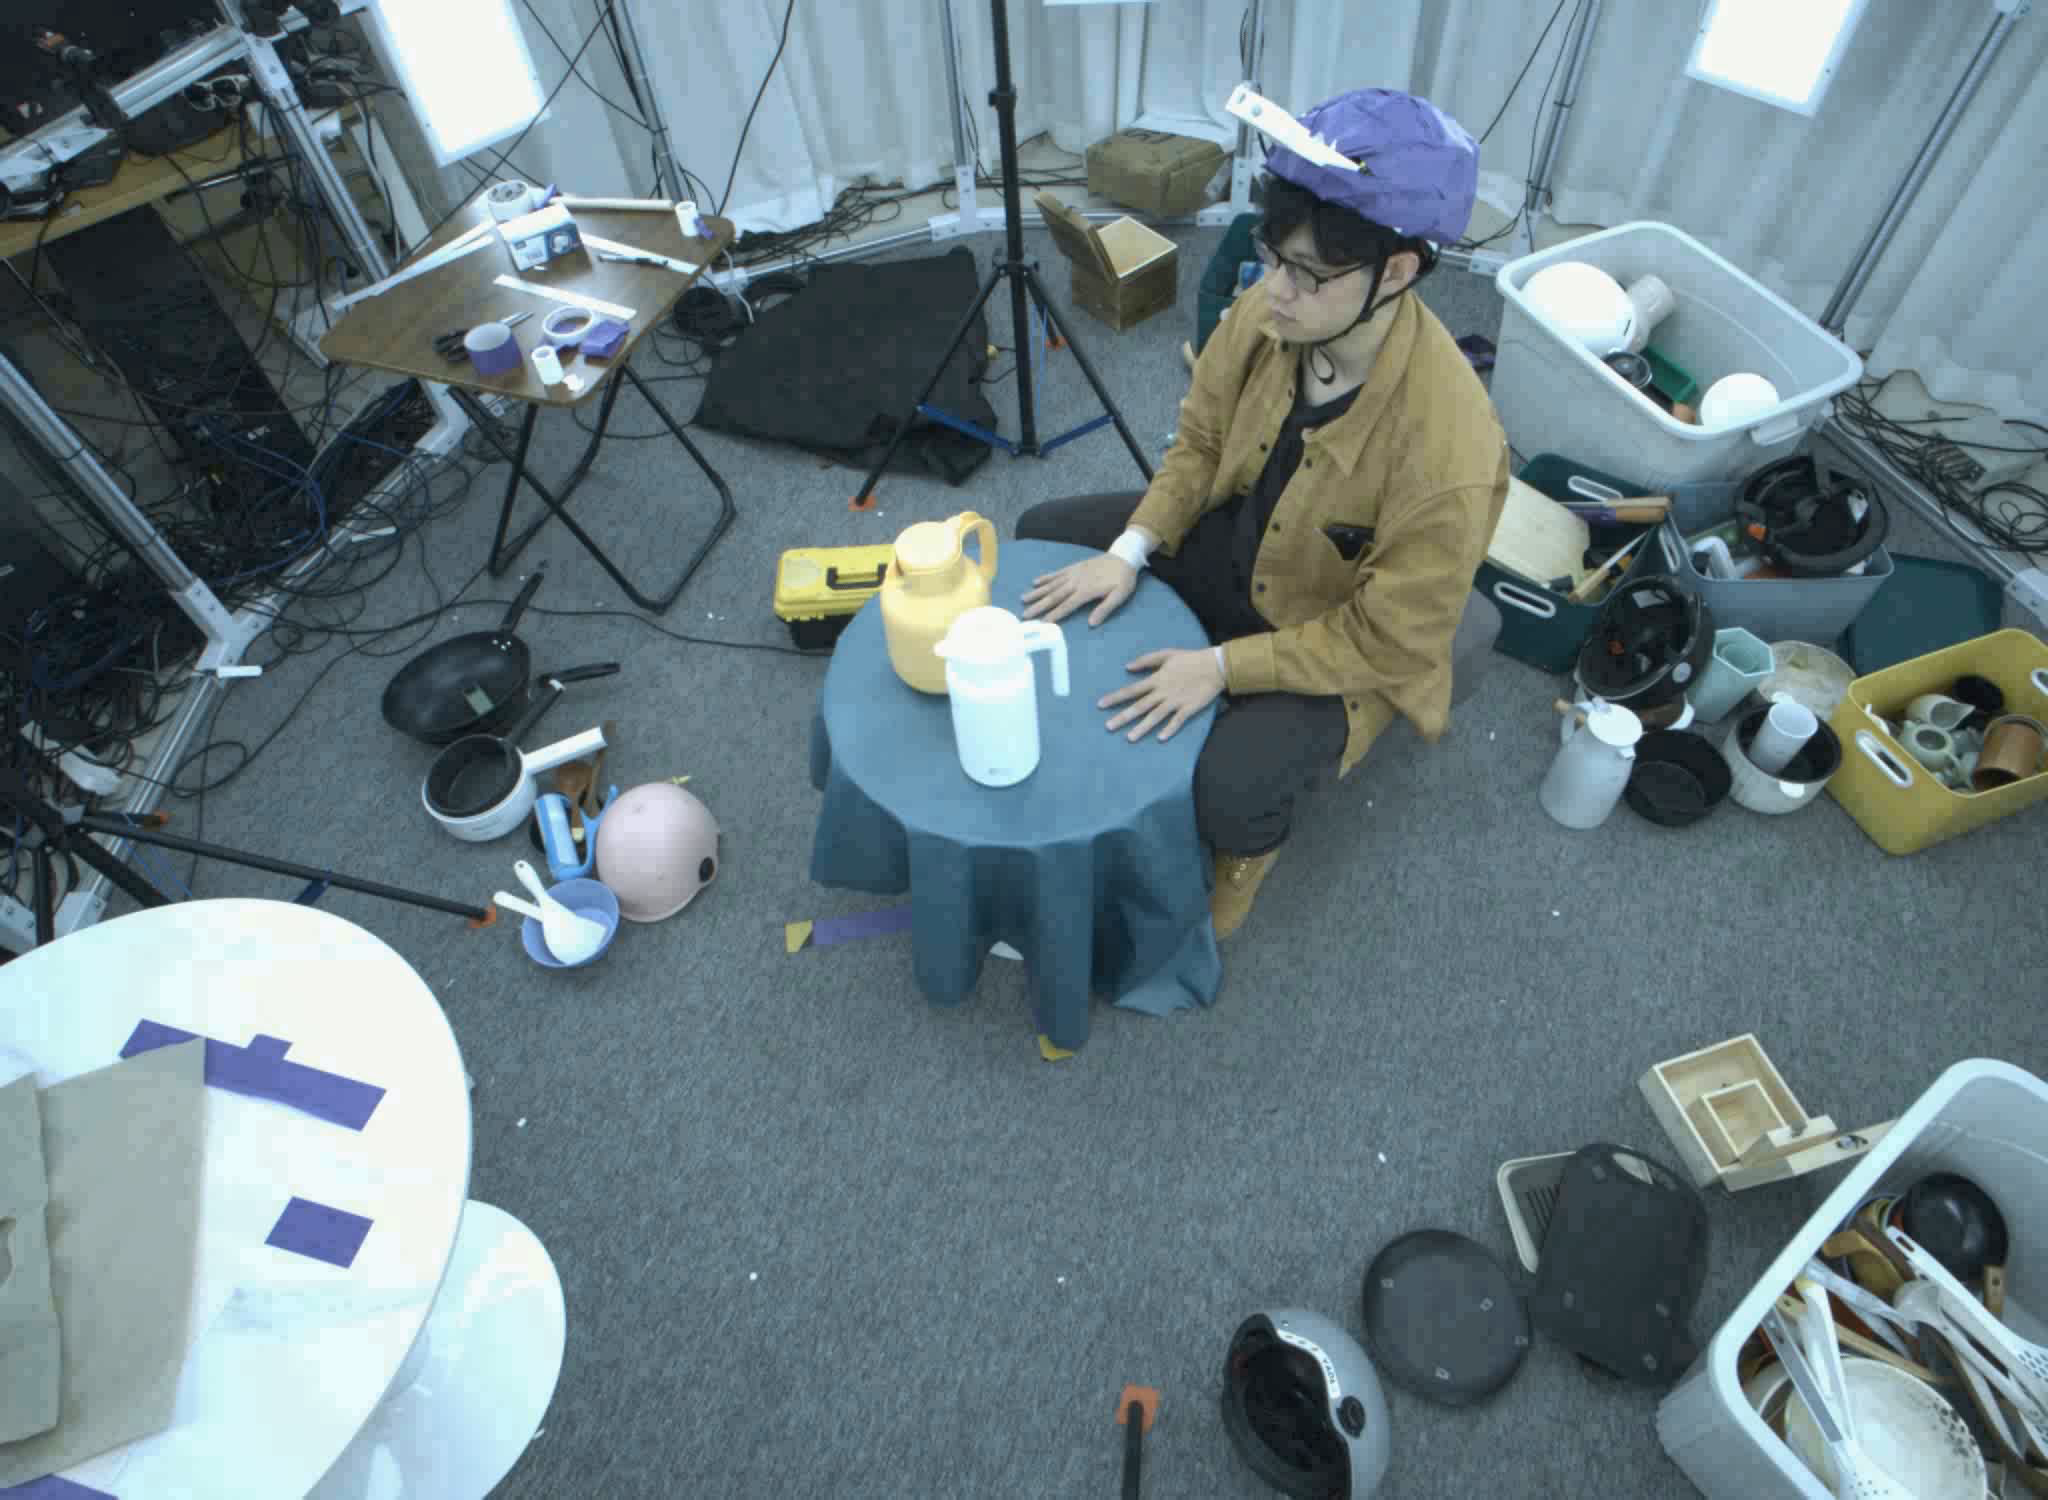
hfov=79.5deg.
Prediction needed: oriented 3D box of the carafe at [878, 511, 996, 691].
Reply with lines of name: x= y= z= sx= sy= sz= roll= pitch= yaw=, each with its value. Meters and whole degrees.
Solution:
carafe: x=-0.116 y=-0.224 z=1.784 sx=0.161 sy=0.263 sz=0.203 roll=38 pitch=66 yaw=23

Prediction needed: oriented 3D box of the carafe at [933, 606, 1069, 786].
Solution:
carafe: x=-0.026 y=-0.074 z=1.672 sx=0.173 sy=0.272 sz=0.122 roll=-13 pitch=53 yaw=-6
